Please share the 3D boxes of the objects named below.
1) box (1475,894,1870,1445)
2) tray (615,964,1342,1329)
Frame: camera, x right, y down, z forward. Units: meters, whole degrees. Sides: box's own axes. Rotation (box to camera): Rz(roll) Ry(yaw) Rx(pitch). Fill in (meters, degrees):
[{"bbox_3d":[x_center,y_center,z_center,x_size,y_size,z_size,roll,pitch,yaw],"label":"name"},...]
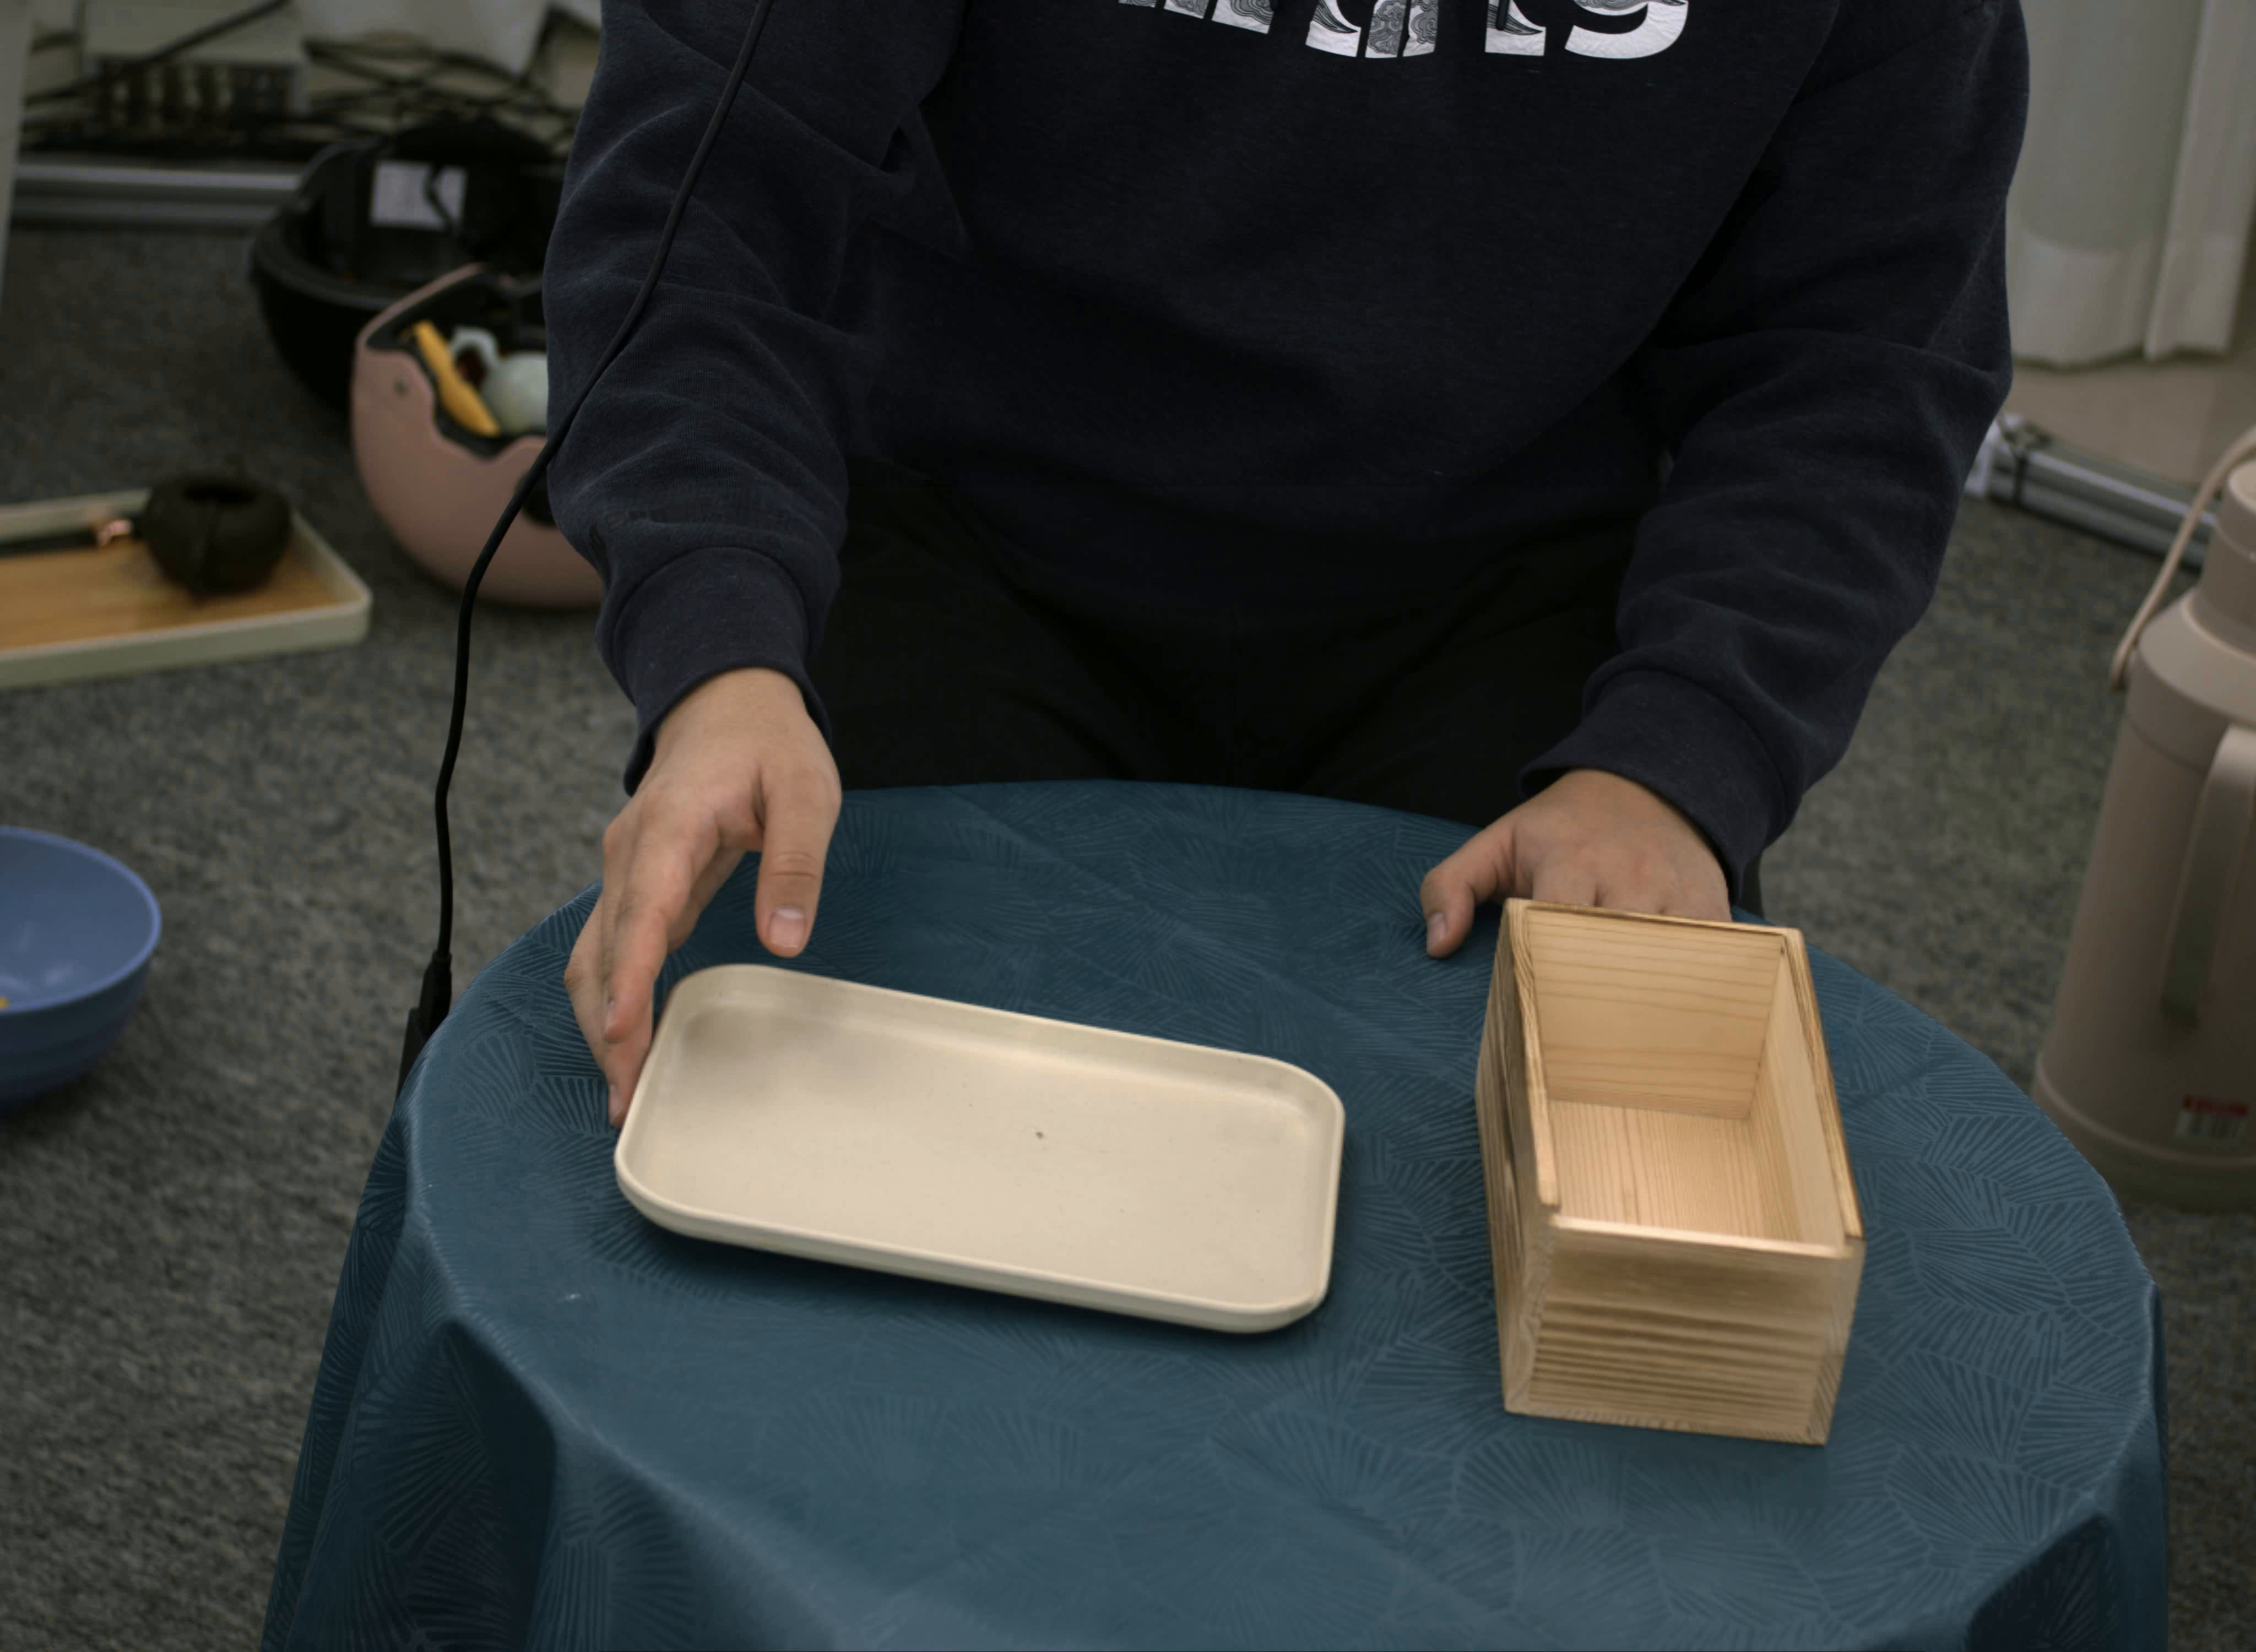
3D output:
[{"bbox_3d":[0.179,0.112,1.784,0.107,0.080,0.212,6,27,-3],"label":"box"},{"bbox_3d":[-0.048,0.109,1.796,0.239,0.017,0.172,10,26,1],"label":"tray"}]
